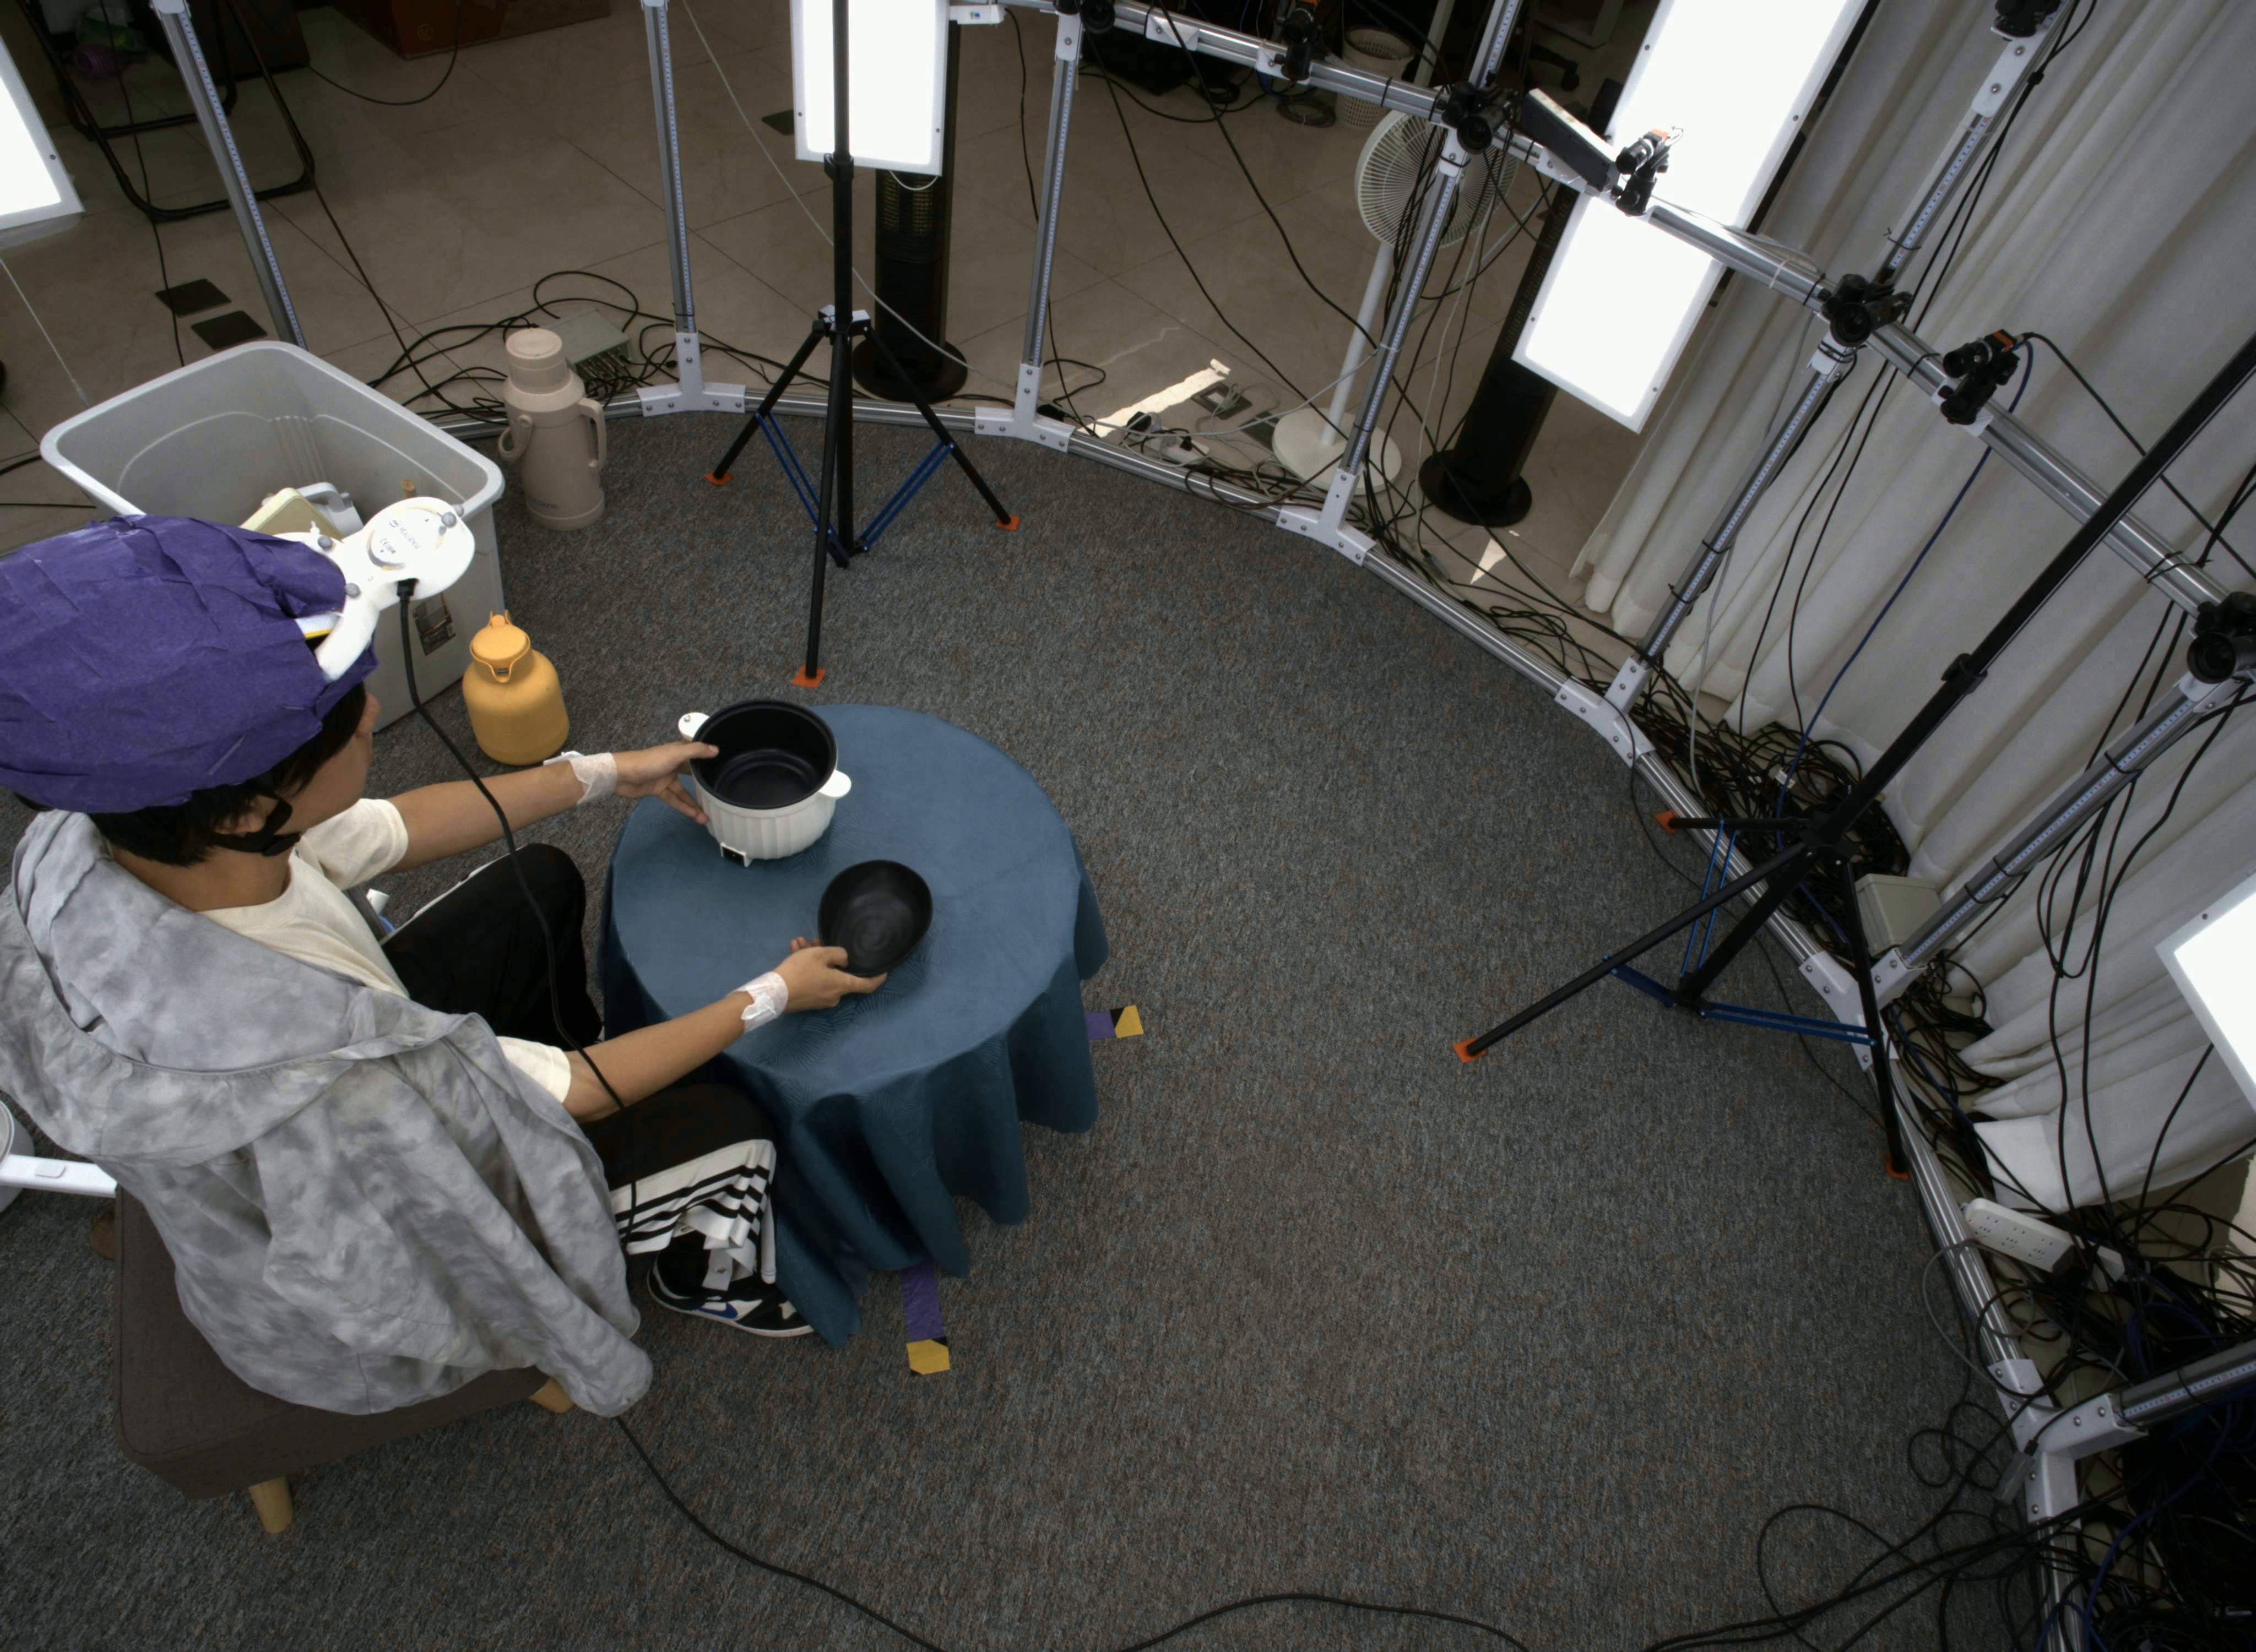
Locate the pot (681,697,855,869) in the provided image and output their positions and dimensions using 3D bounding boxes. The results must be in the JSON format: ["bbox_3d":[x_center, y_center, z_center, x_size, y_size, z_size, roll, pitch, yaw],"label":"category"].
[{"bbox_3d":[-0.459,-0.057,1.671,0.237,0.145,0.189,22,55,4],"label":"pot"}]

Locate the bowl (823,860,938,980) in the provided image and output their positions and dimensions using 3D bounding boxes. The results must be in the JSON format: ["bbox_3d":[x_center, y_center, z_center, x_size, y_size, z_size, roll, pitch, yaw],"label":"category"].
[{"bbox_3d":[-0.308,0.125,1.621,0.136,0.068,0.168,14,53,-1],"label":"bowl"}]
